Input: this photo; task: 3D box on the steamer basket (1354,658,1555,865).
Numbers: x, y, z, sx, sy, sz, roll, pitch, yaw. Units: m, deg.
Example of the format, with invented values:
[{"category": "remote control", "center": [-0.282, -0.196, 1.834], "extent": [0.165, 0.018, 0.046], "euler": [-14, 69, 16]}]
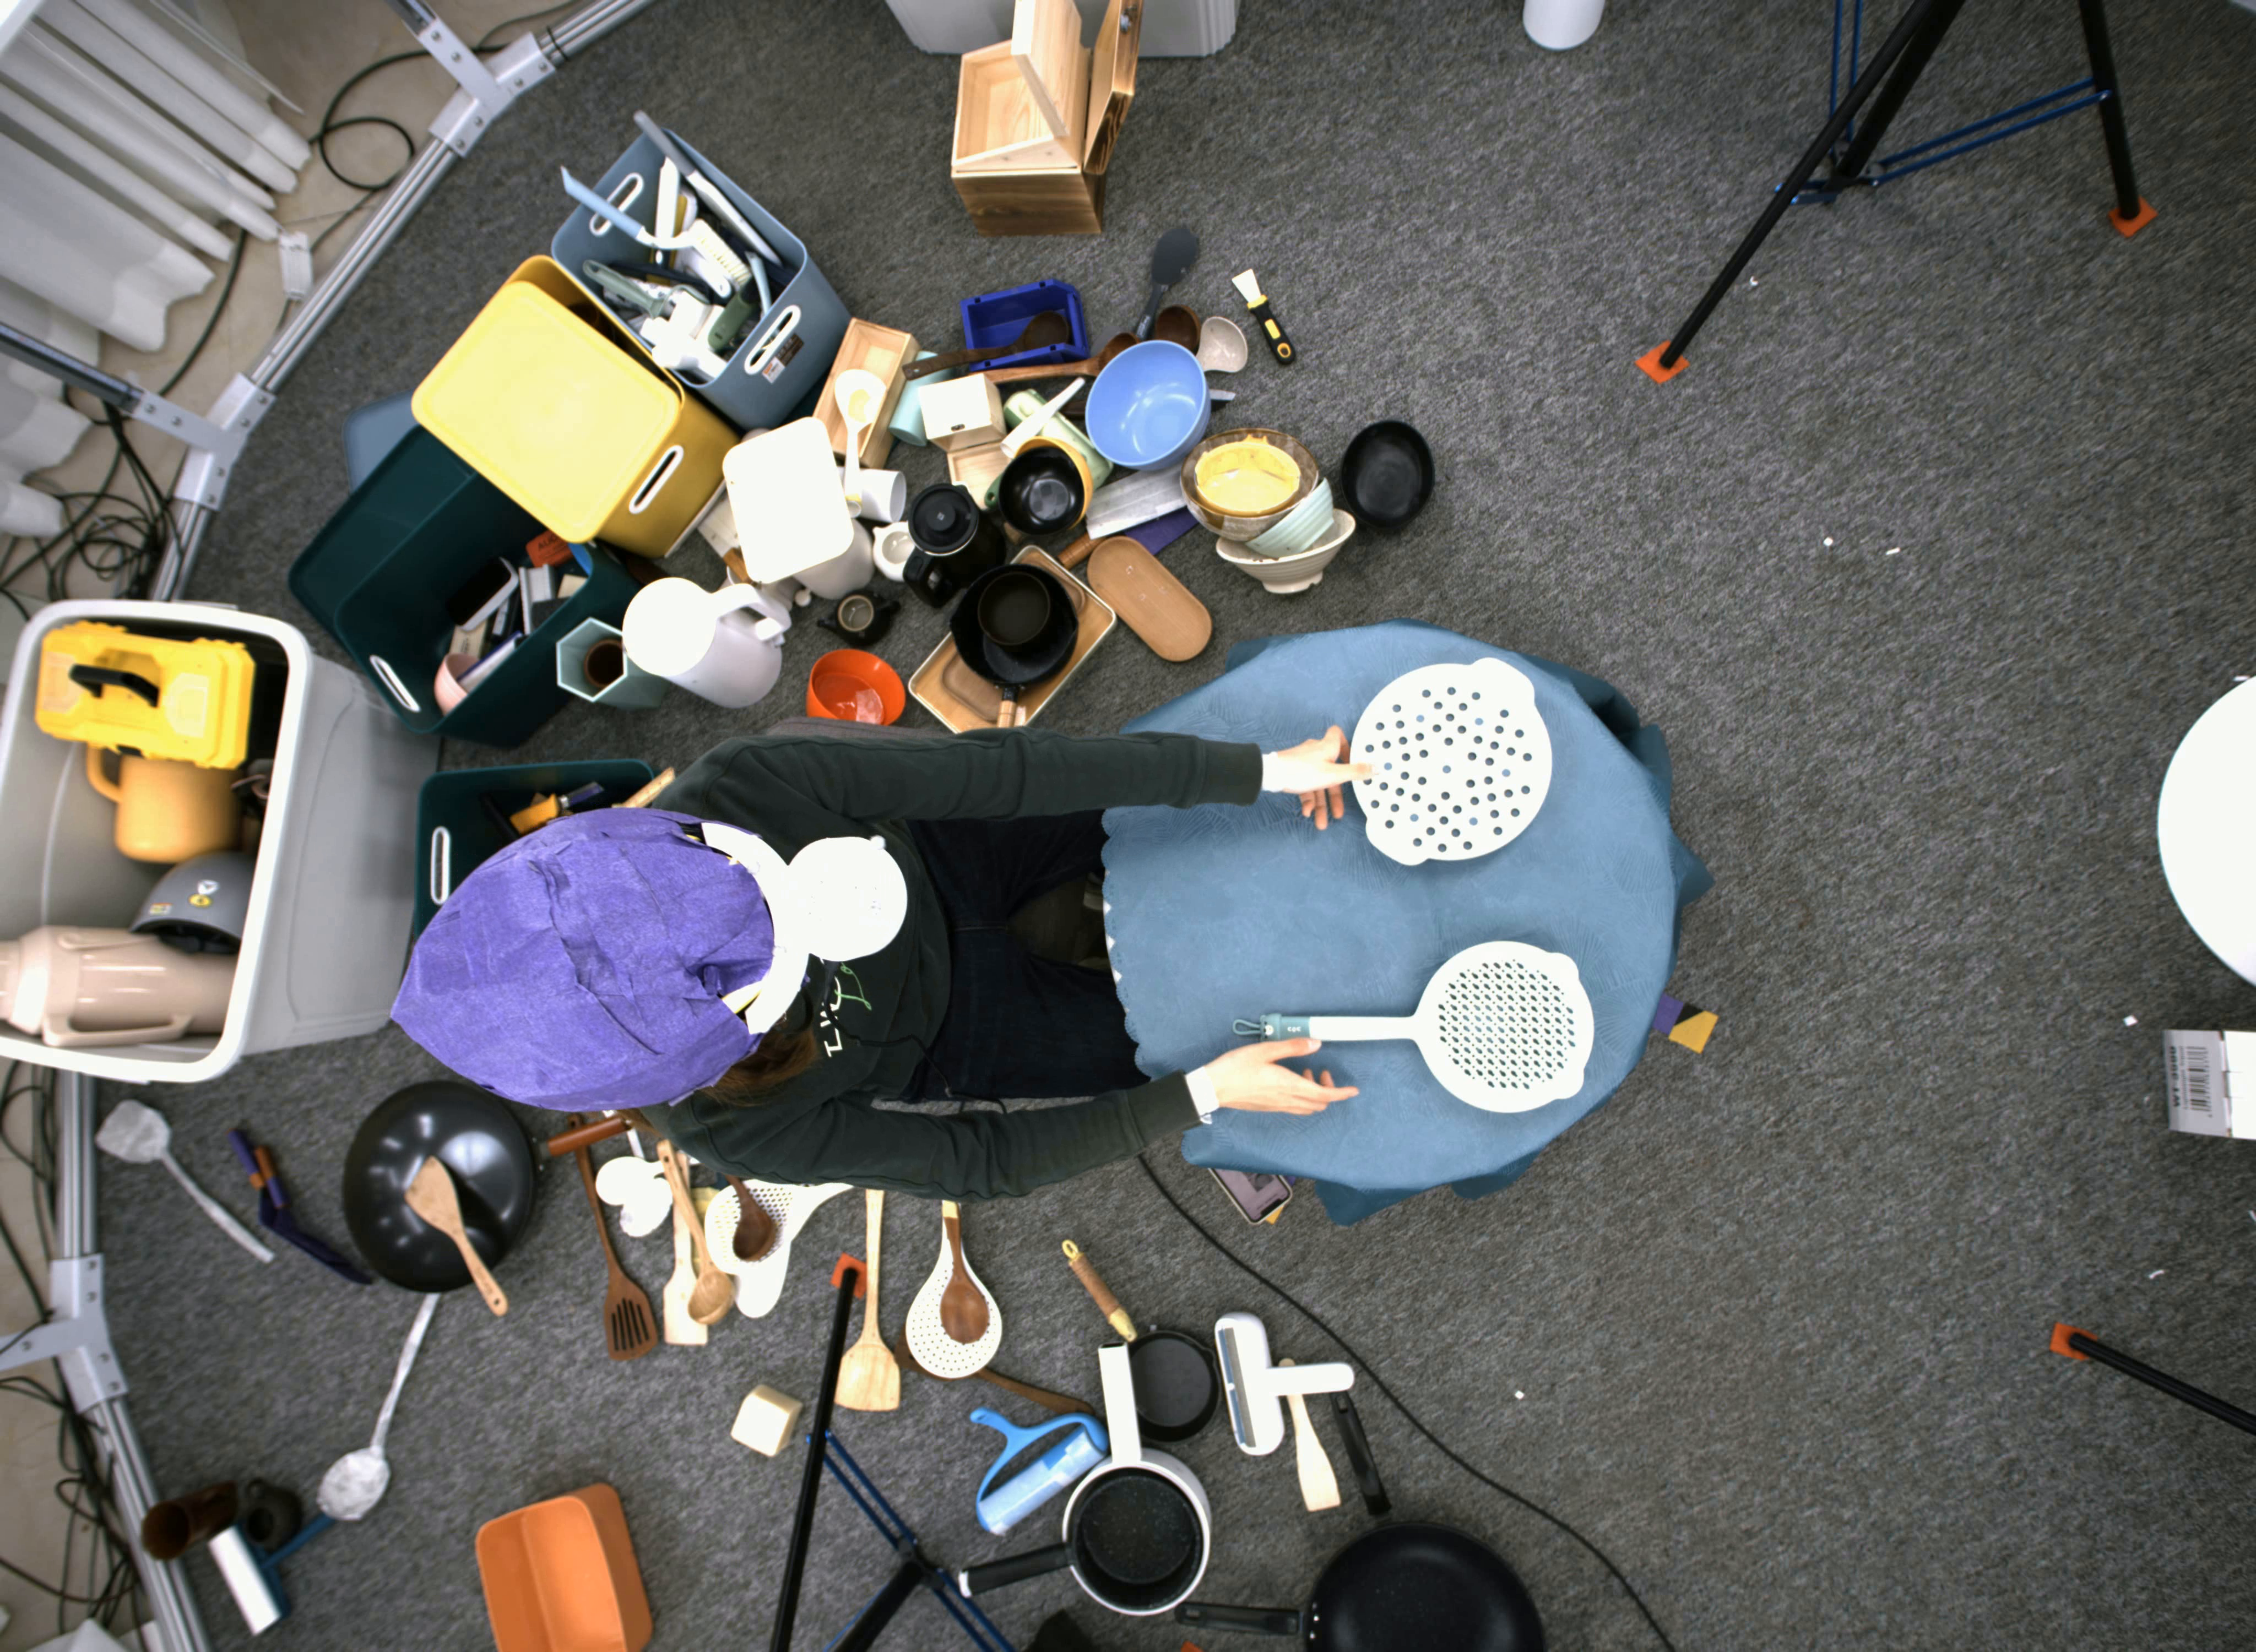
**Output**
[{"category": "steamer basket", "center": [0.338, -0.065, 1.430], "extent": [0.201, 0.069, 0.231], "euler": [33, 93, 12]}]

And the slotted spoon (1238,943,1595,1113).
[{"category": "slotted spoon", "center": [0.289, 0.206, 1.419], "extent": [0.360, 0.075, 0.168], "euler": [-2, 85, 10]}]
